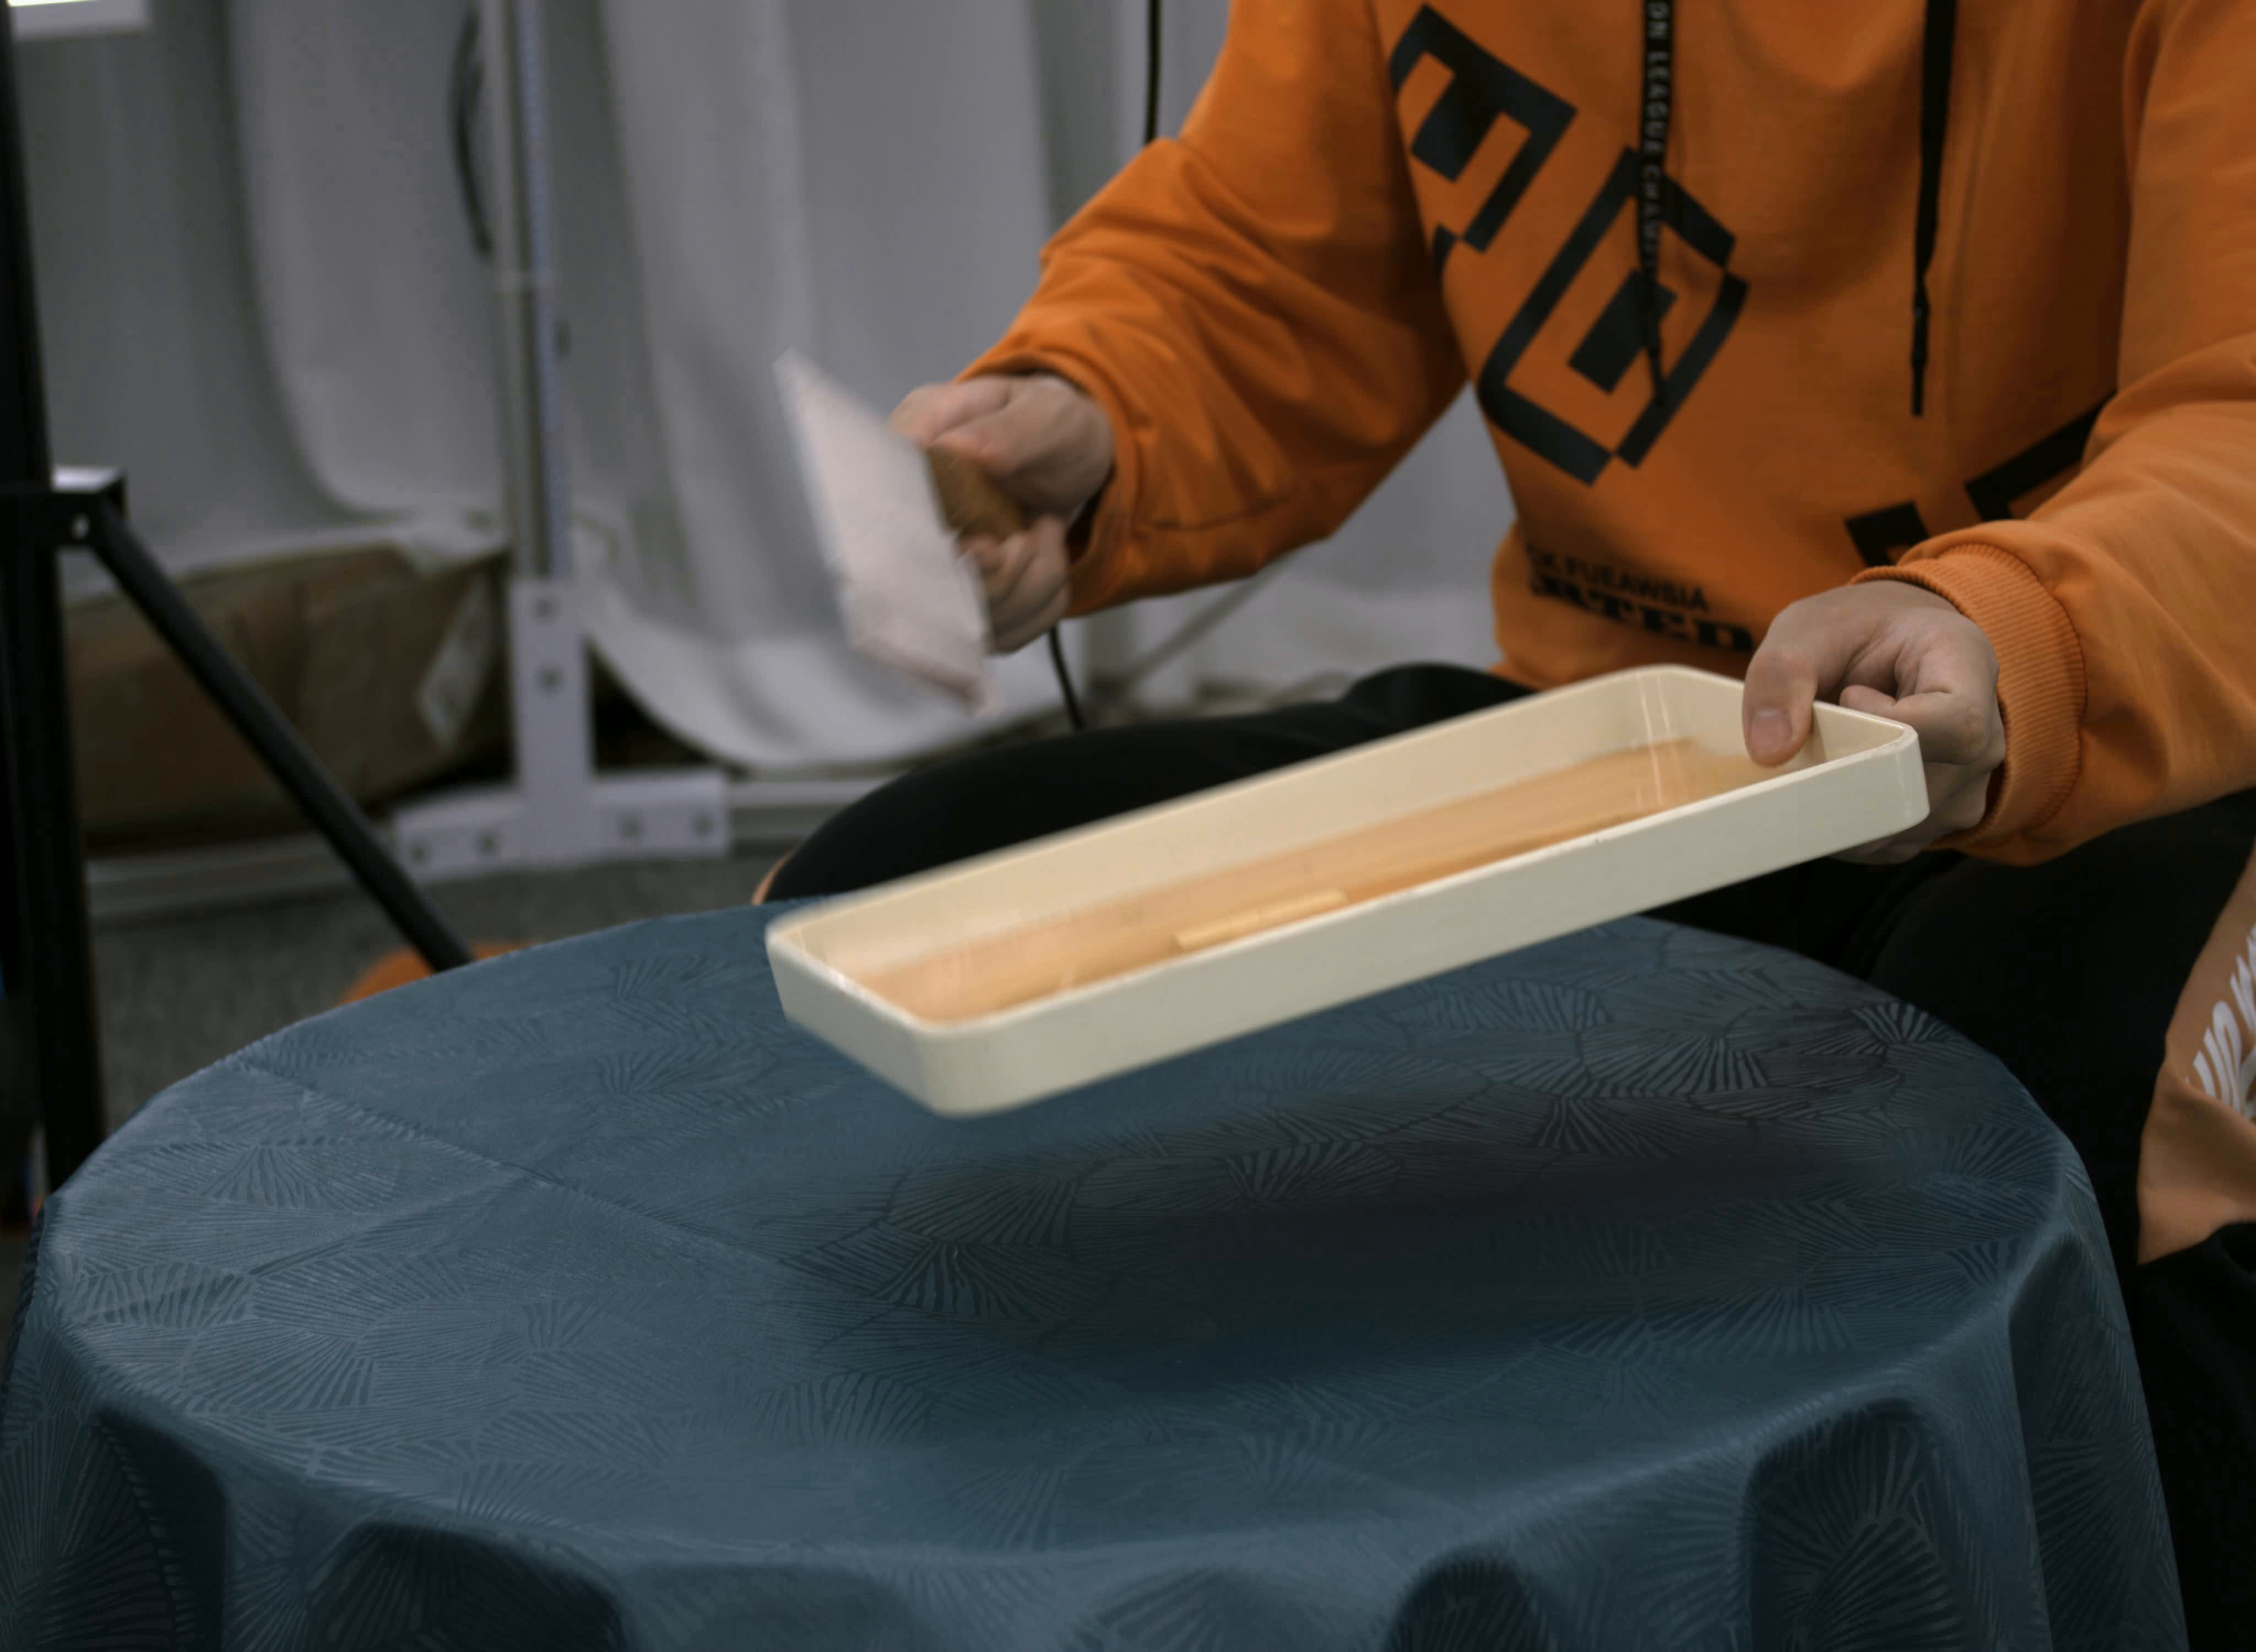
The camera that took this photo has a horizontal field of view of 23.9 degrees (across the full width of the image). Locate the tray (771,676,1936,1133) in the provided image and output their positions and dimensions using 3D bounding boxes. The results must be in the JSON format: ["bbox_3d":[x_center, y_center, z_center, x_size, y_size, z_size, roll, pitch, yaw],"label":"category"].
[{"bbox_3d":[0.060,0.019,1.506,0.296,0.027,0.194,-18,11,-14],"label":"tray"}]

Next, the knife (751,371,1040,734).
[{"bbox_3d":[-0.066,-0.075,1.658,0.021,0.094,0.302,-17,-8,10],"label":"knife"}]
